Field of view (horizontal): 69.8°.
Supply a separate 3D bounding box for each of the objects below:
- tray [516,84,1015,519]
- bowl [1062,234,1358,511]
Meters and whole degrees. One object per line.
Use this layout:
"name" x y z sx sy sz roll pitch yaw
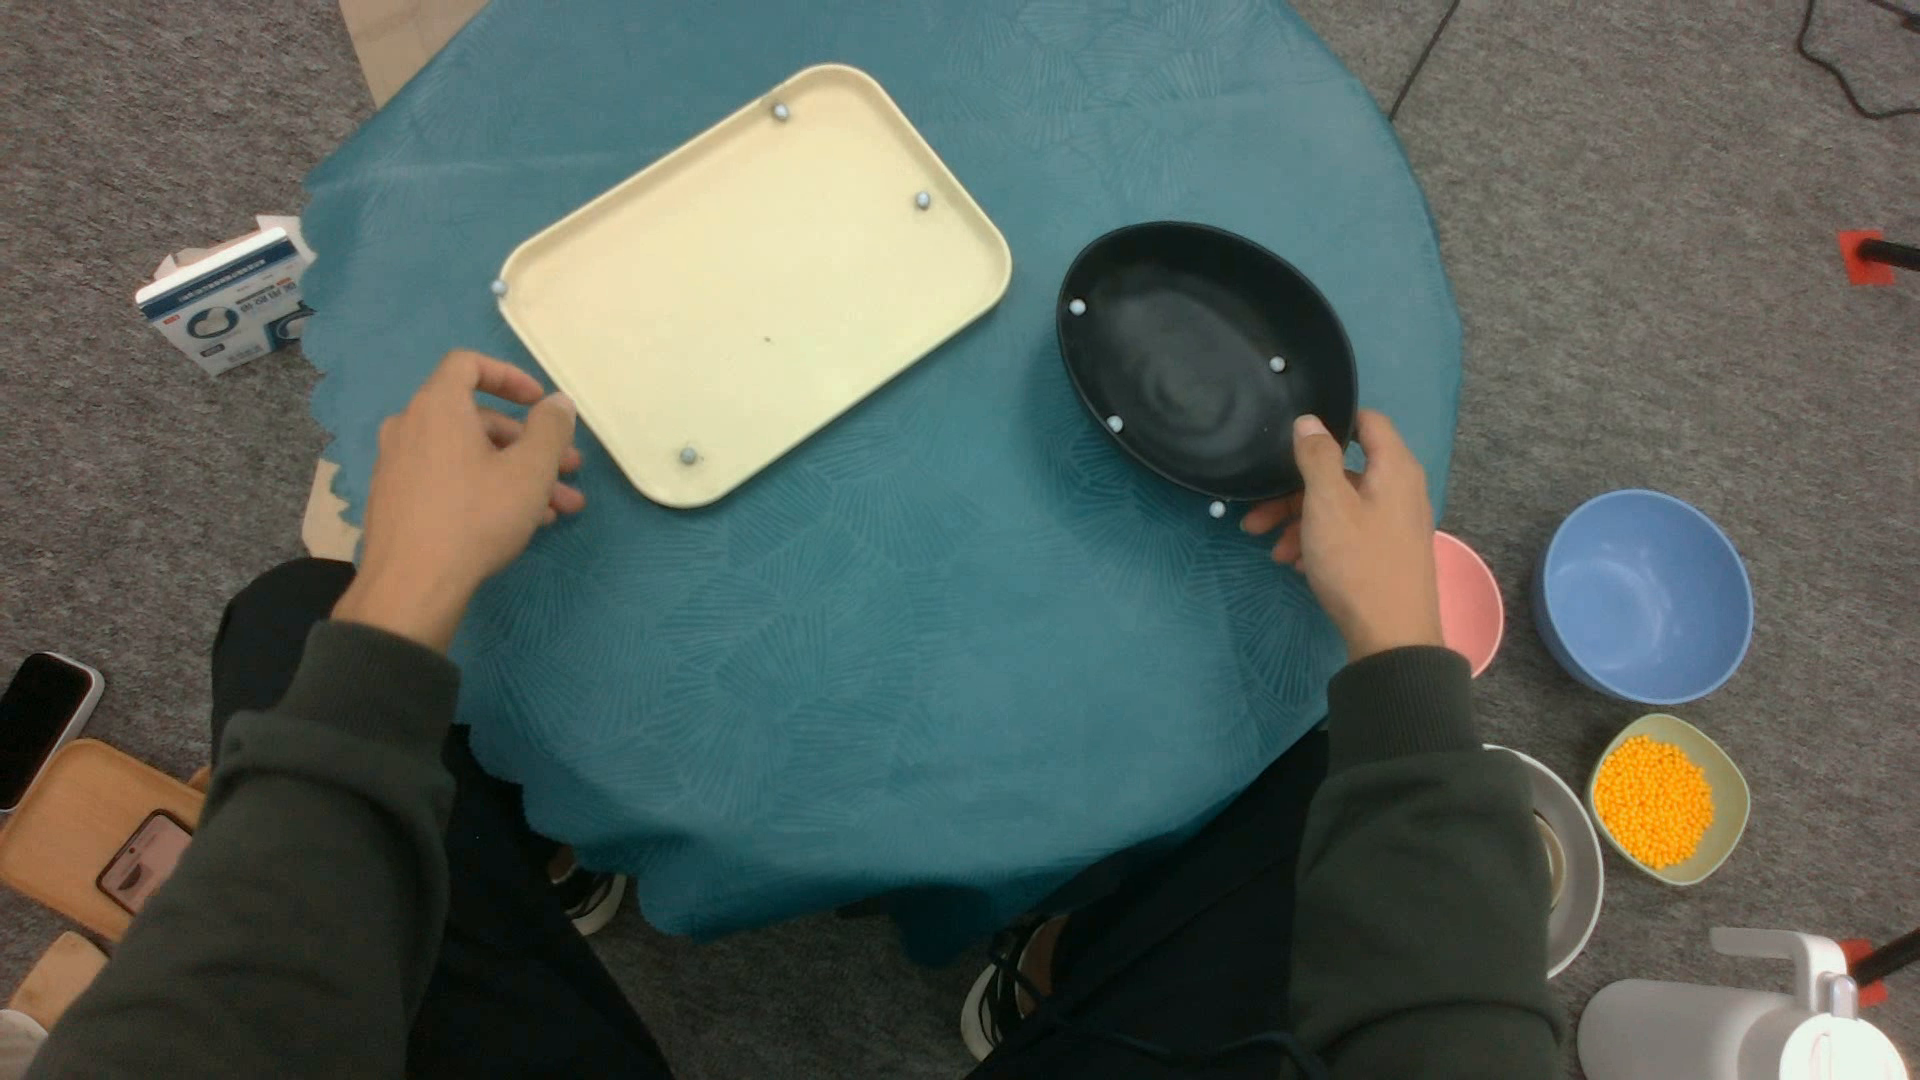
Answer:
"tray" -0.102 -0.132 0.747 0.240 0.017 0.171 -37 82 -13
"bowl" 0.125 -0.082 0.732 0.170 0.066 0.138 43 74 8
